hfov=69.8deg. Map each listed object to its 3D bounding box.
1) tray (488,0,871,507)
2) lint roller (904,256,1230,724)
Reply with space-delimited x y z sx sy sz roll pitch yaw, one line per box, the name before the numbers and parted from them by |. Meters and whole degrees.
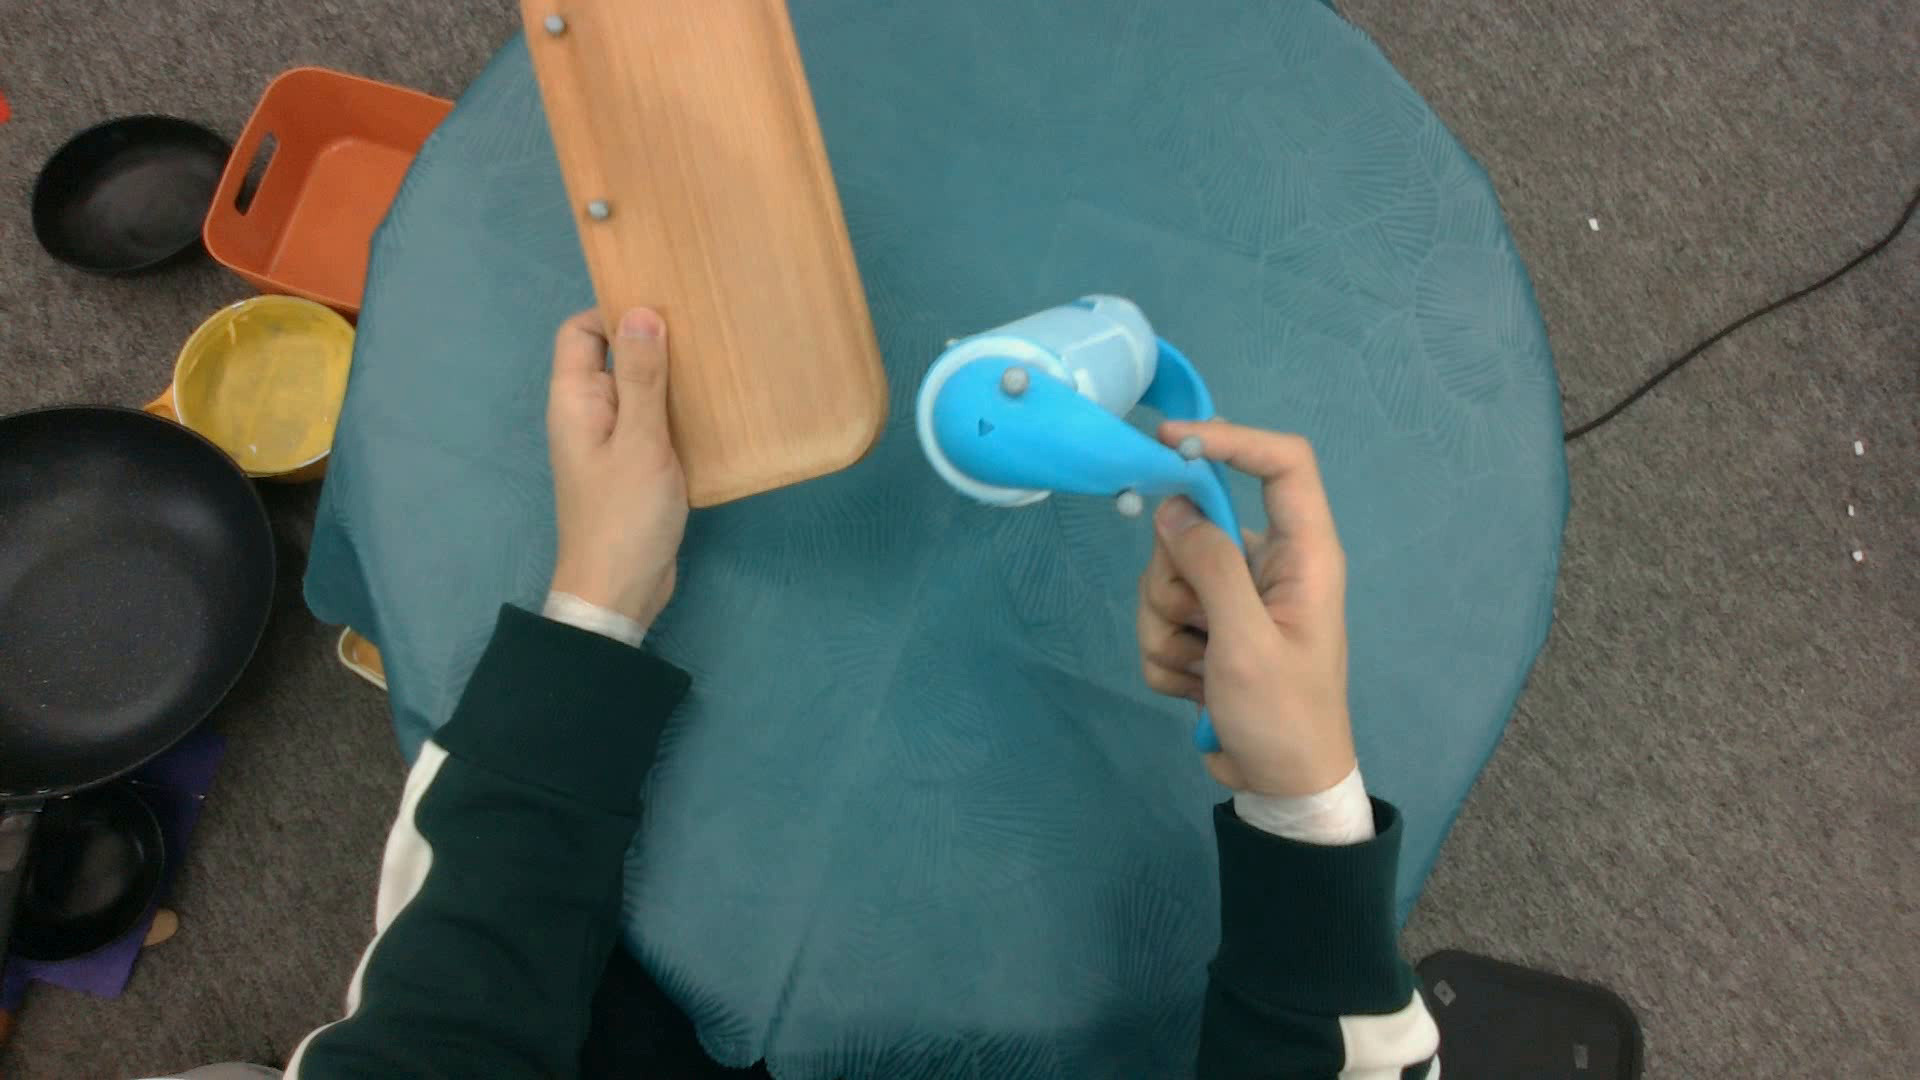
tray | -0.117 -0.144 0.572 0.130 0.023 0.250 -13 94 28
lint roller | 0.065 -0.021 0.512 0.068 0.230 0.180 -31 98 19
